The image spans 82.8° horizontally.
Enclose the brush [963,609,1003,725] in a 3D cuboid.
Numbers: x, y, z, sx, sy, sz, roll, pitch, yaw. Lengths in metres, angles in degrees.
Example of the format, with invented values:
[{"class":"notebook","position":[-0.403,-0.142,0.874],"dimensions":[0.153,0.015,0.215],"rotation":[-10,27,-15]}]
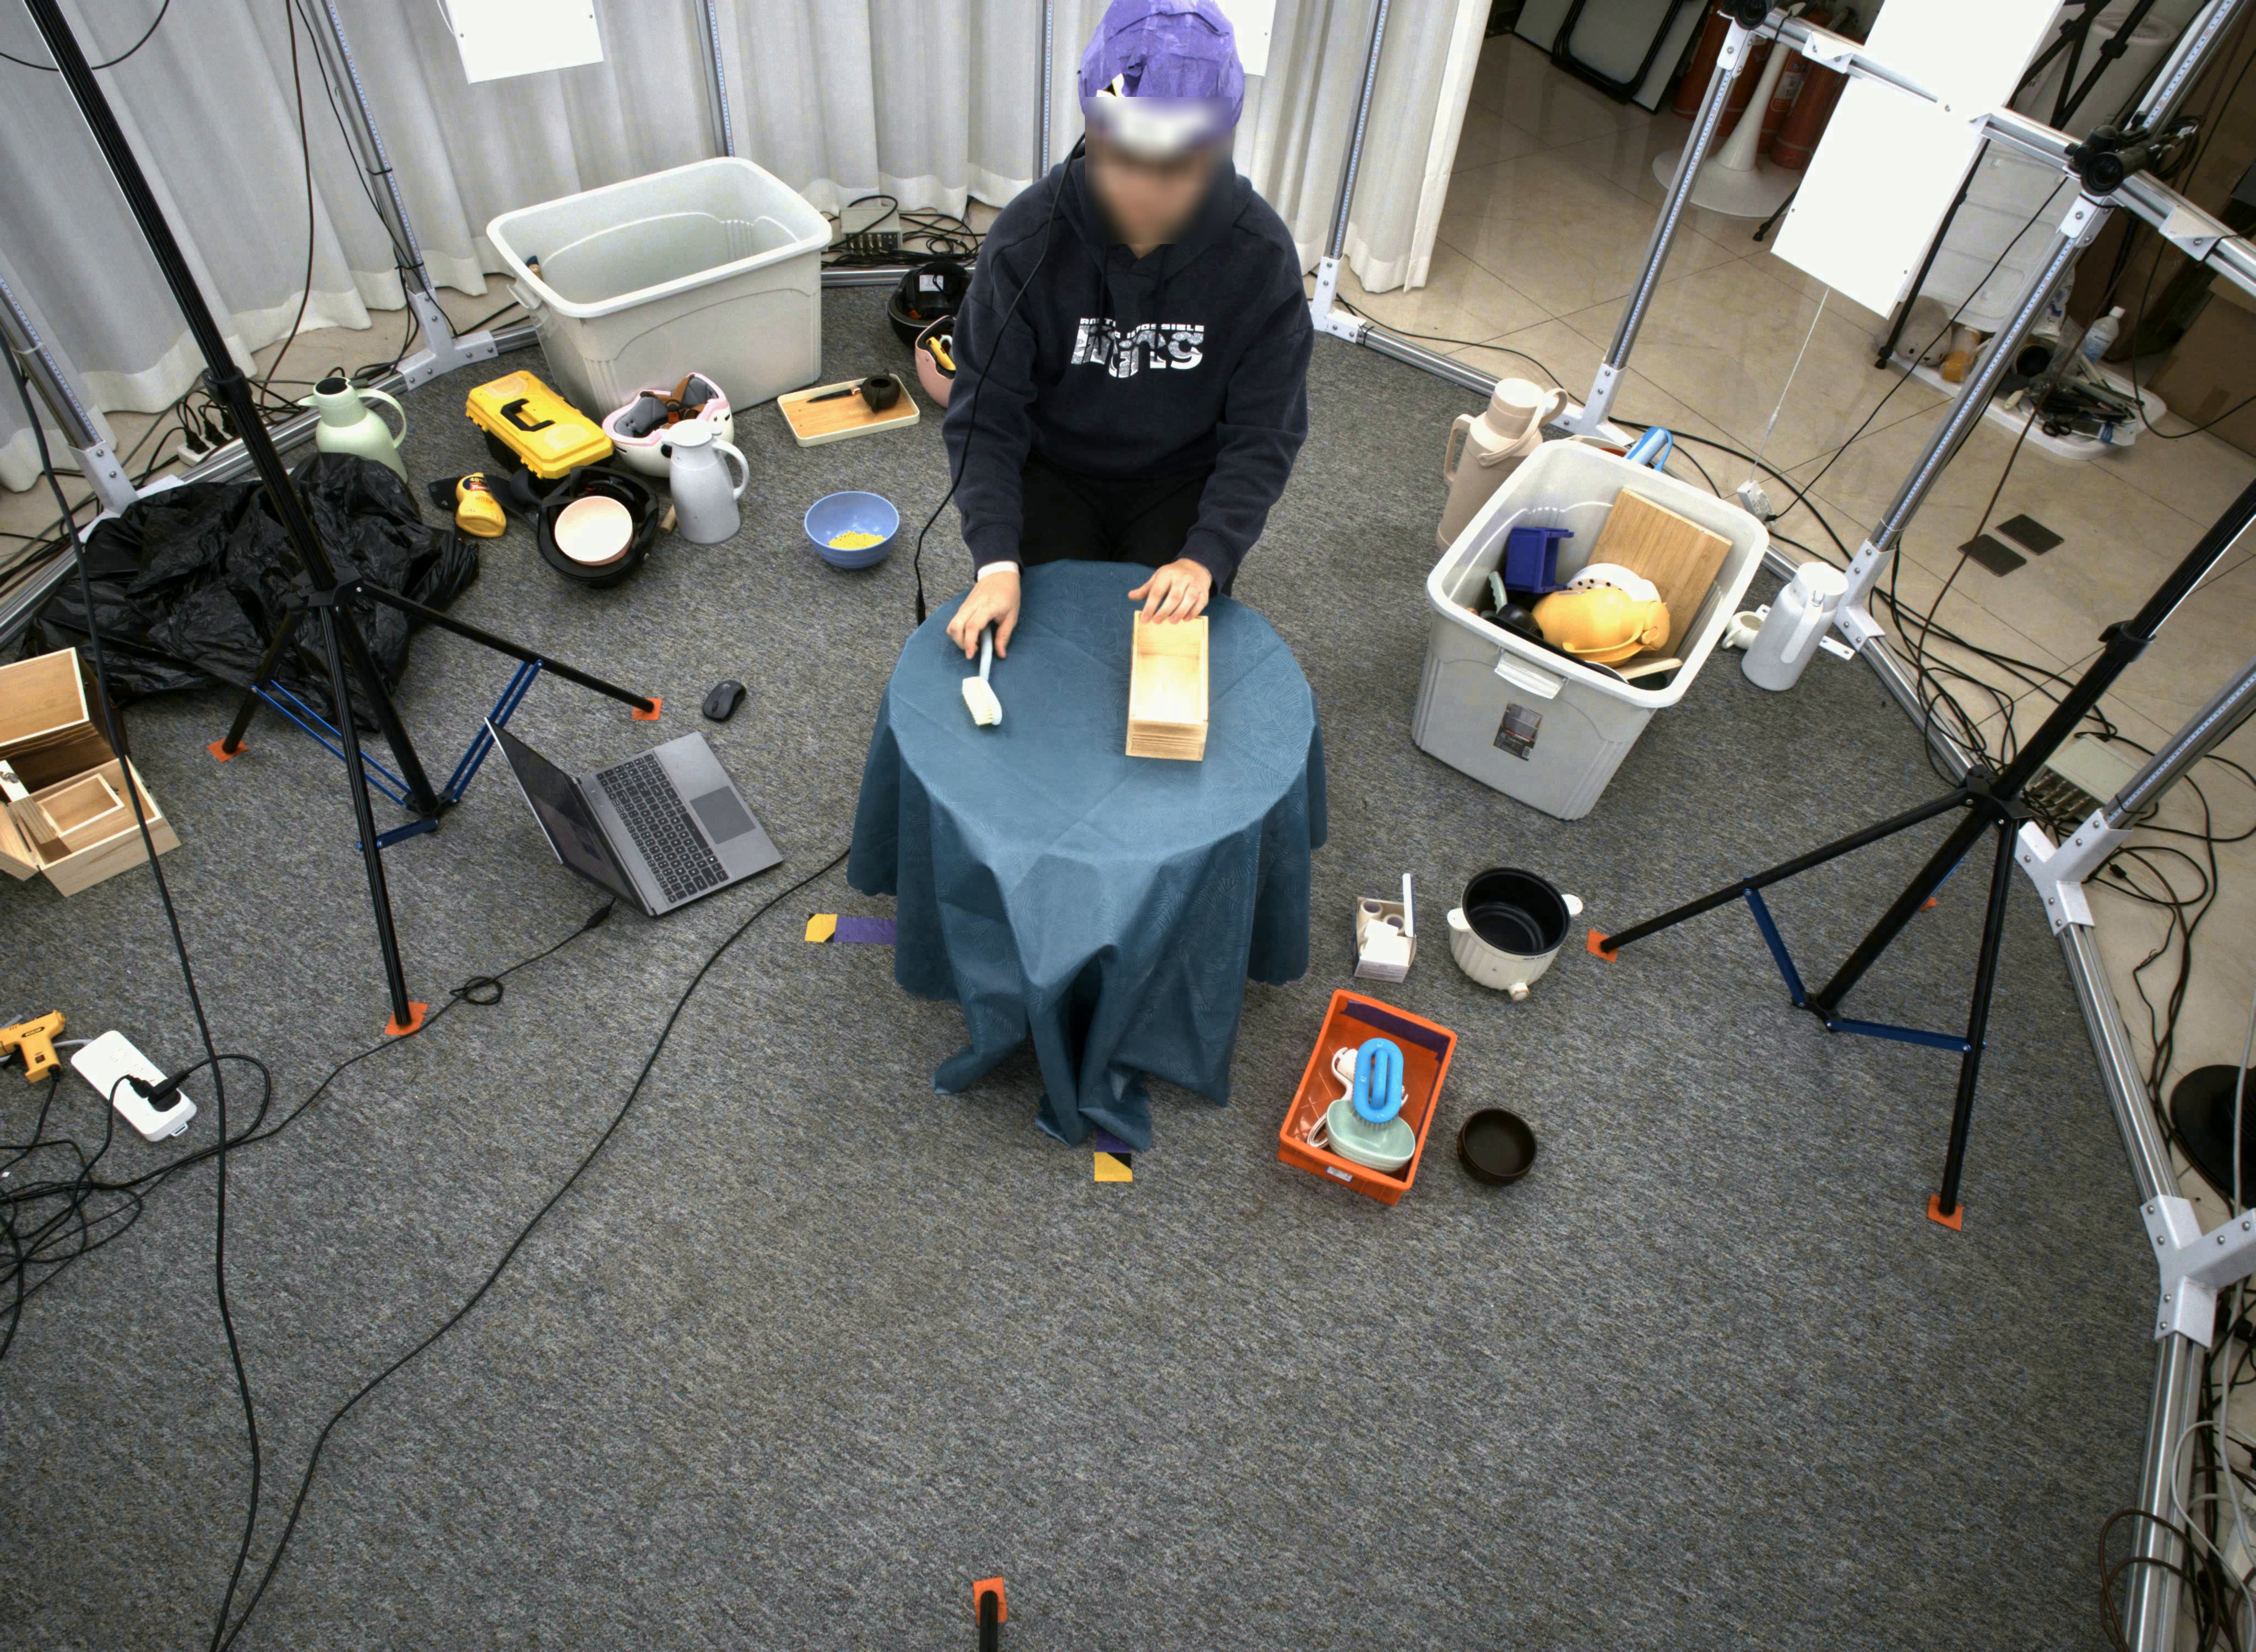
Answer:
[{"class":"brush","position":[-0.212,-0.230,1.824],"dimensions":[0.049,0.037,0.234],"rotation":[-5,49,-8]}]

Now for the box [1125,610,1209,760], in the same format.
[{"class":"box","position":[0.056,-0.199,1.791],"dimensions":[0.107,0.078,0.216],"rotation":[4,49,-2]}]
